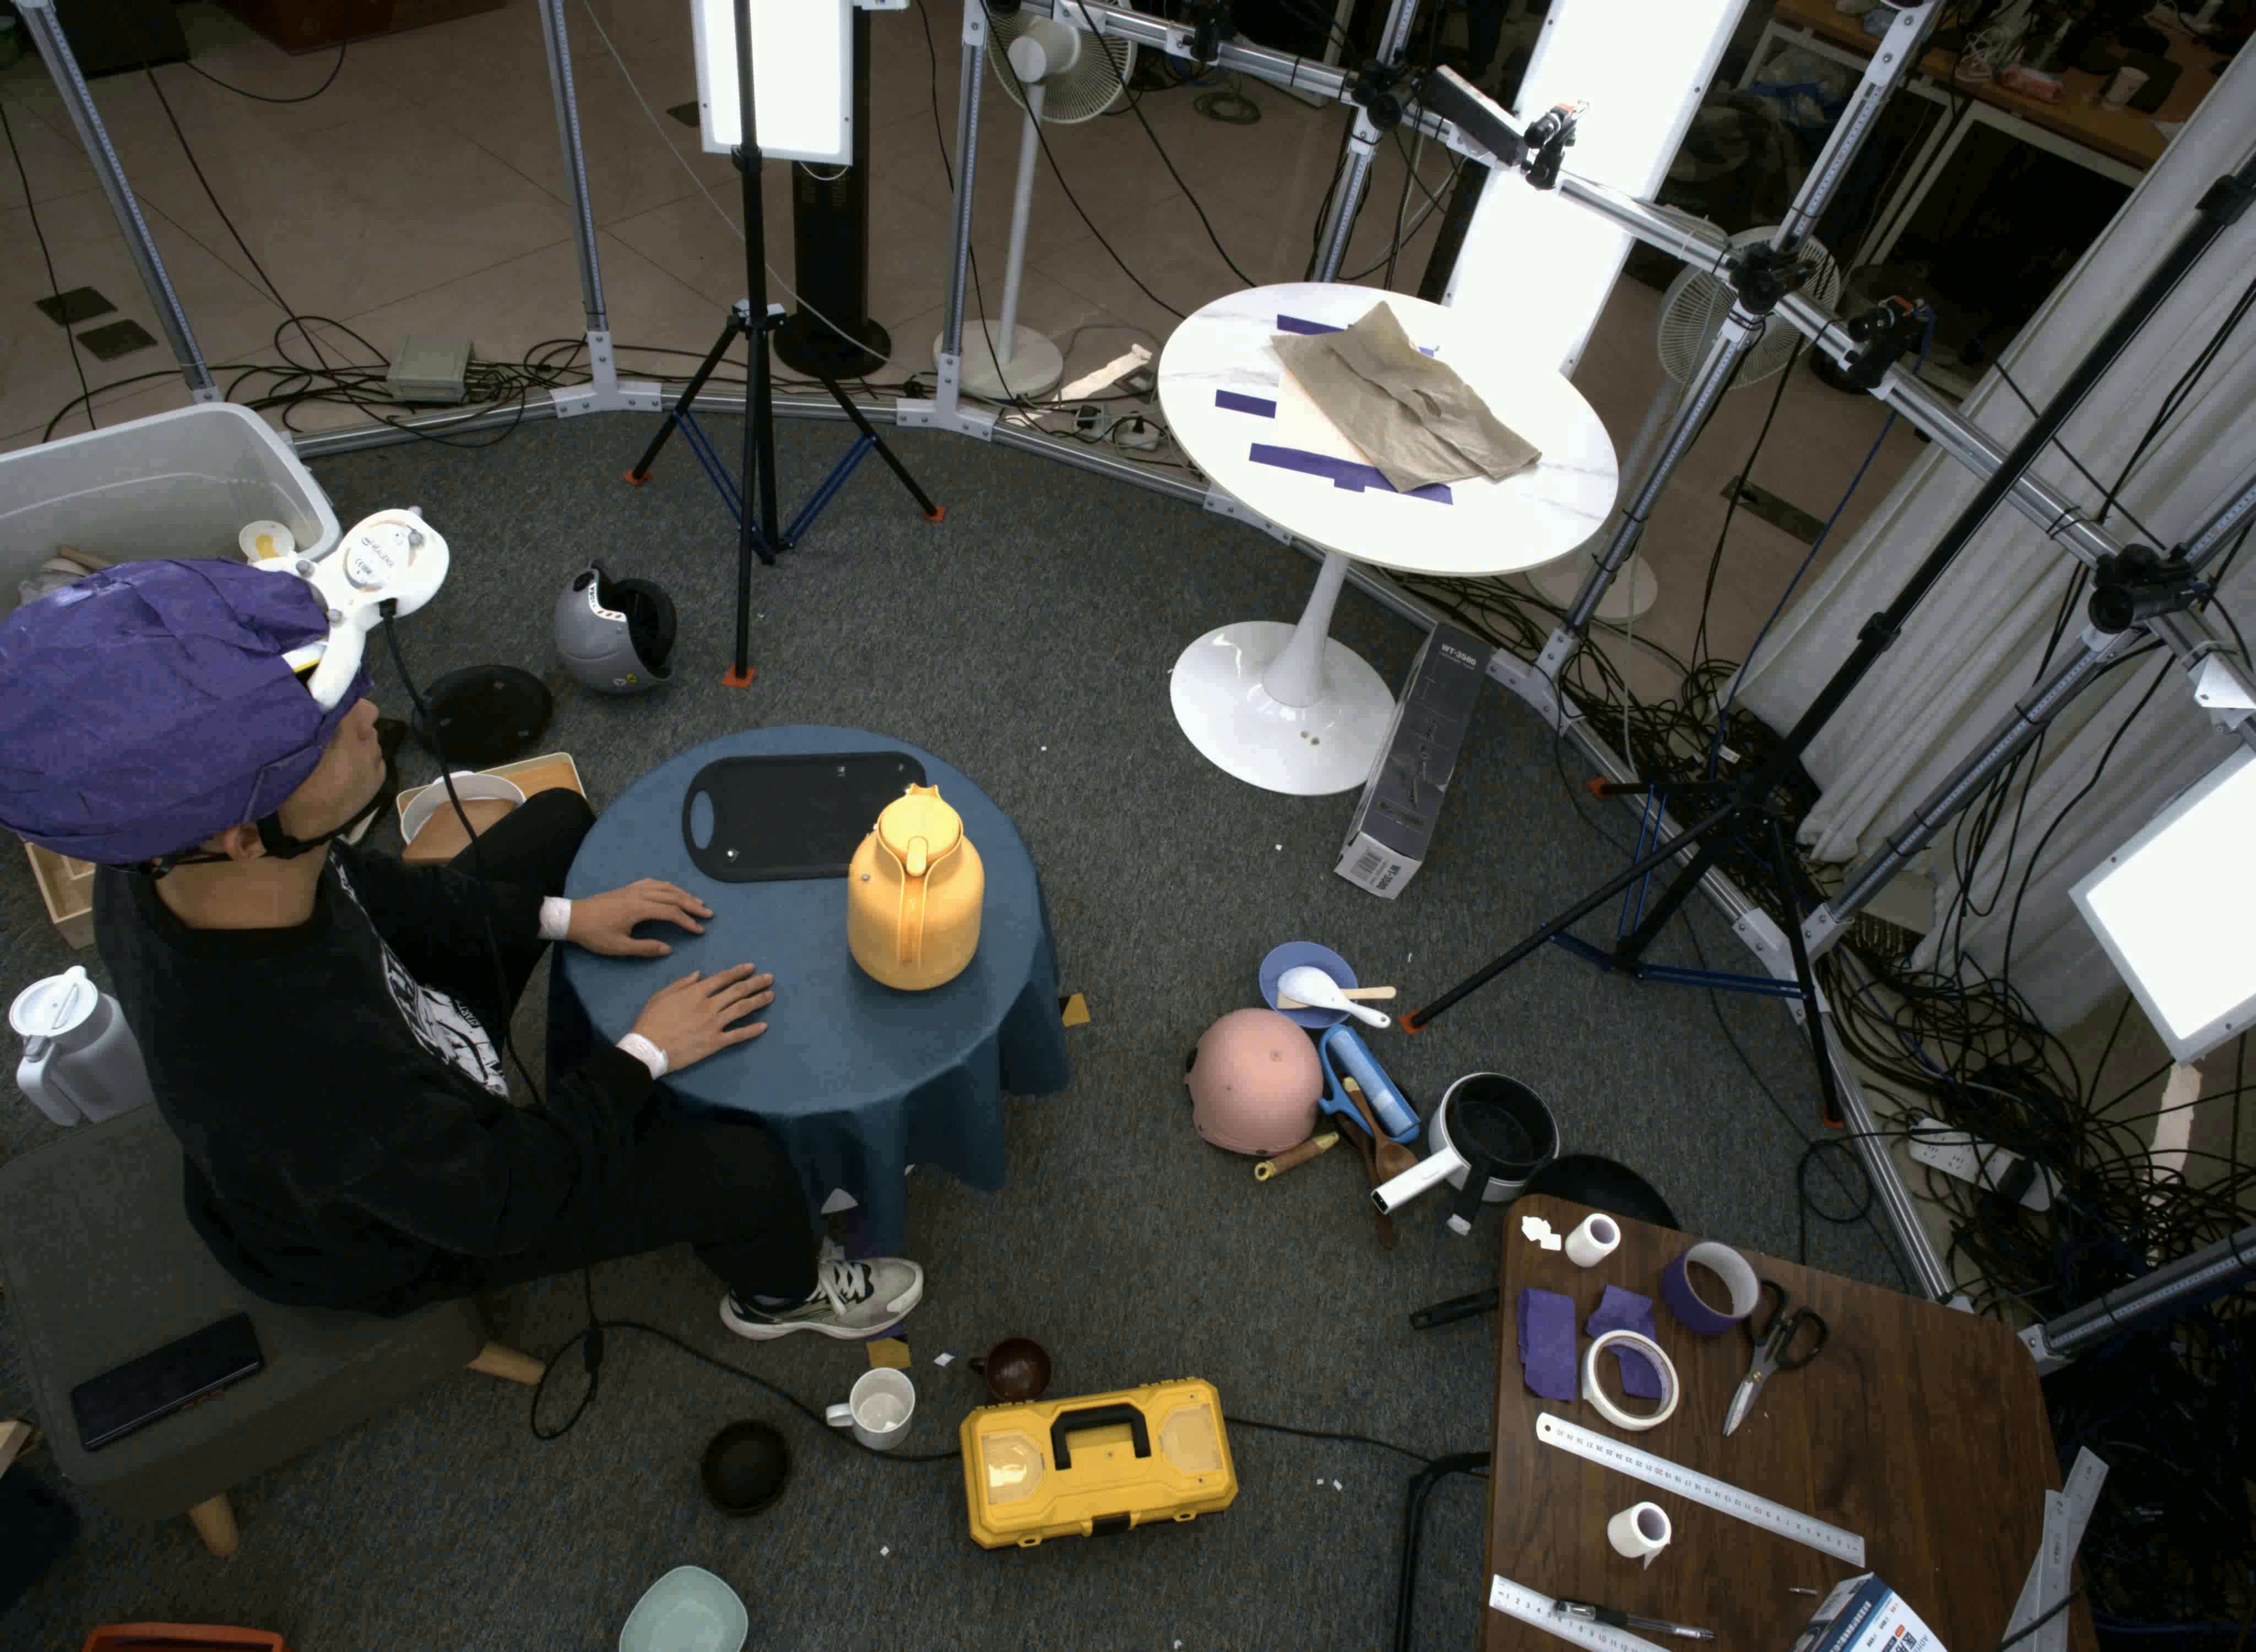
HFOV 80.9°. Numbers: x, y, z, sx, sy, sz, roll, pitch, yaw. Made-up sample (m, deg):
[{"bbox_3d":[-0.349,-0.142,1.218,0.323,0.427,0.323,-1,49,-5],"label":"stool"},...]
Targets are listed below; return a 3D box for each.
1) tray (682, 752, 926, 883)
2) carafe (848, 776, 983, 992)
[{"bbox_3d":[-0.427,-0.017,1.729,0.326,0.010,0.206,-2,54,-16],"label":"tray"},{"bbox_3d":[-0.254,0.083,1.534,0.162,0.267,0.198,5,50,-5],"label":"carafe"}]
